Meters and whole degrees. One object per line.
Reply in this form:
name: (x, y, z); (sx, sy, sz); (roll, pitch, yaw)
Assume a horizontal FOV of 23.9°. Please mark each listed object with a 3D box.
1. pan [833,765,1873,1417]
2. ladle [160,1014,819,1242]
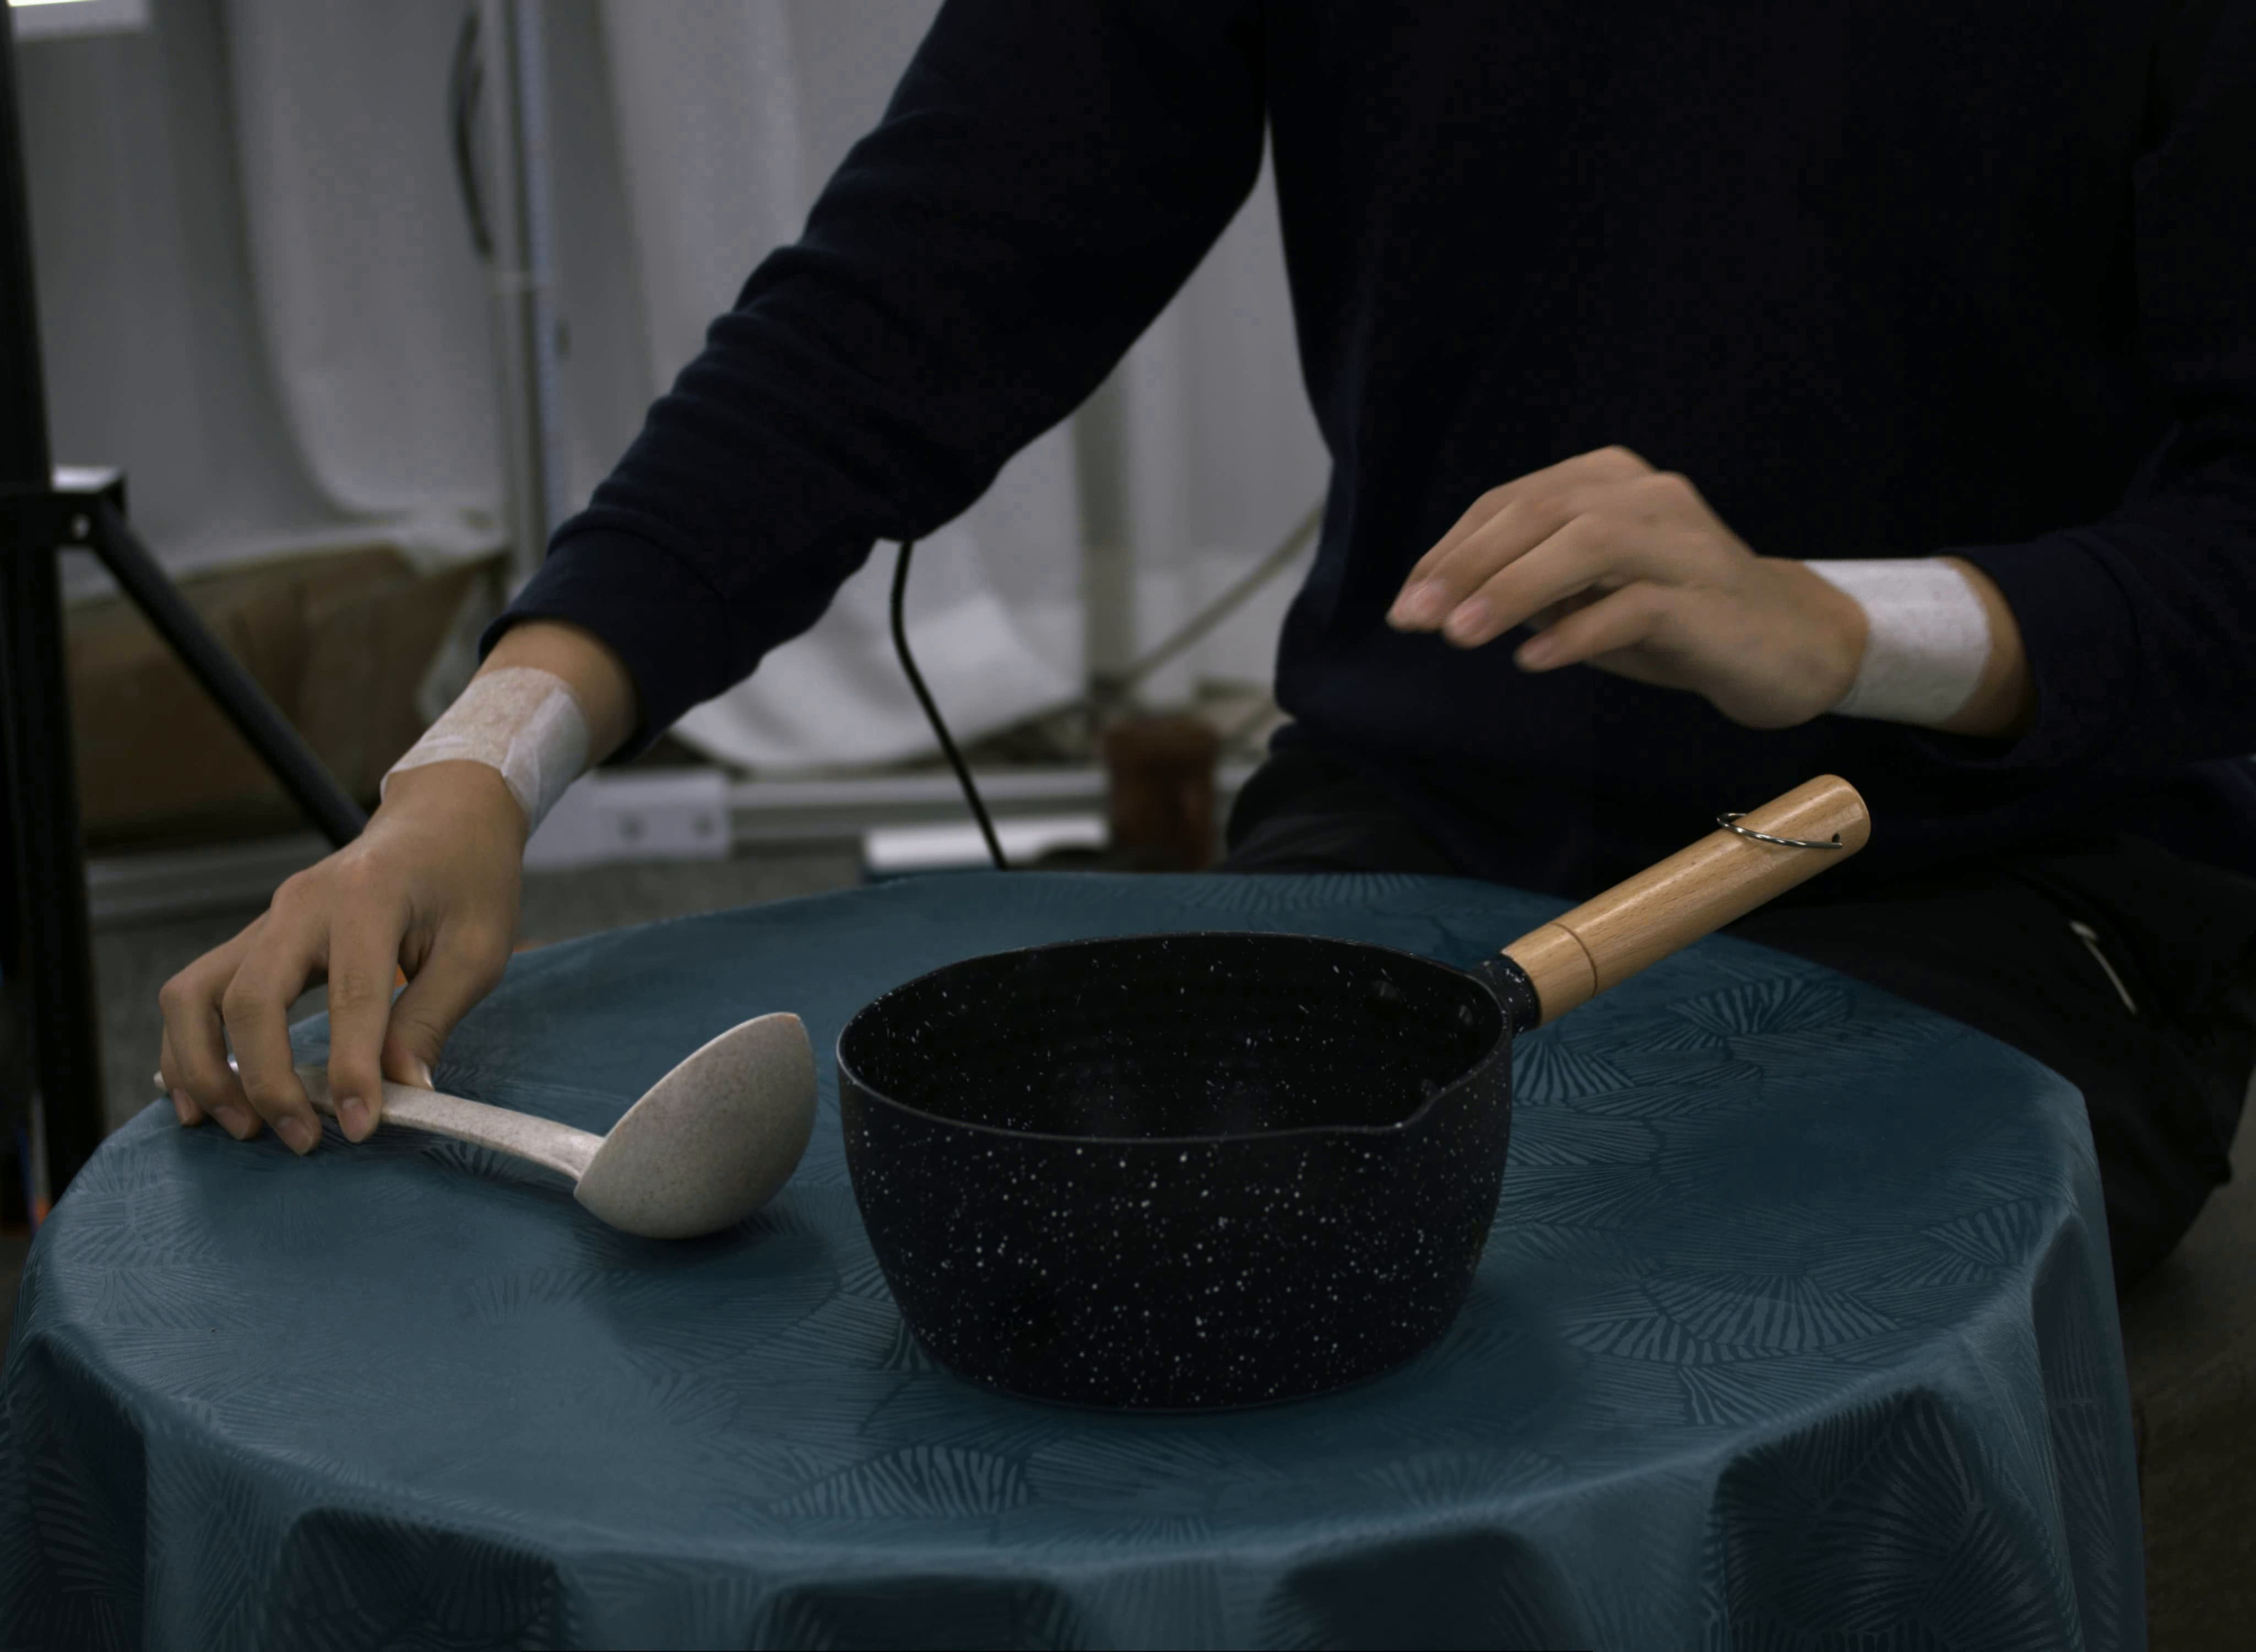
pan: (0.077, 0.069, 1.486); (0.335, 0.108, 0.212); (-15, 19, -33)
ladle: (-0.205, 0.070, 1.606); (0.281, 0.069, 0.088); (11, 29, 41)
